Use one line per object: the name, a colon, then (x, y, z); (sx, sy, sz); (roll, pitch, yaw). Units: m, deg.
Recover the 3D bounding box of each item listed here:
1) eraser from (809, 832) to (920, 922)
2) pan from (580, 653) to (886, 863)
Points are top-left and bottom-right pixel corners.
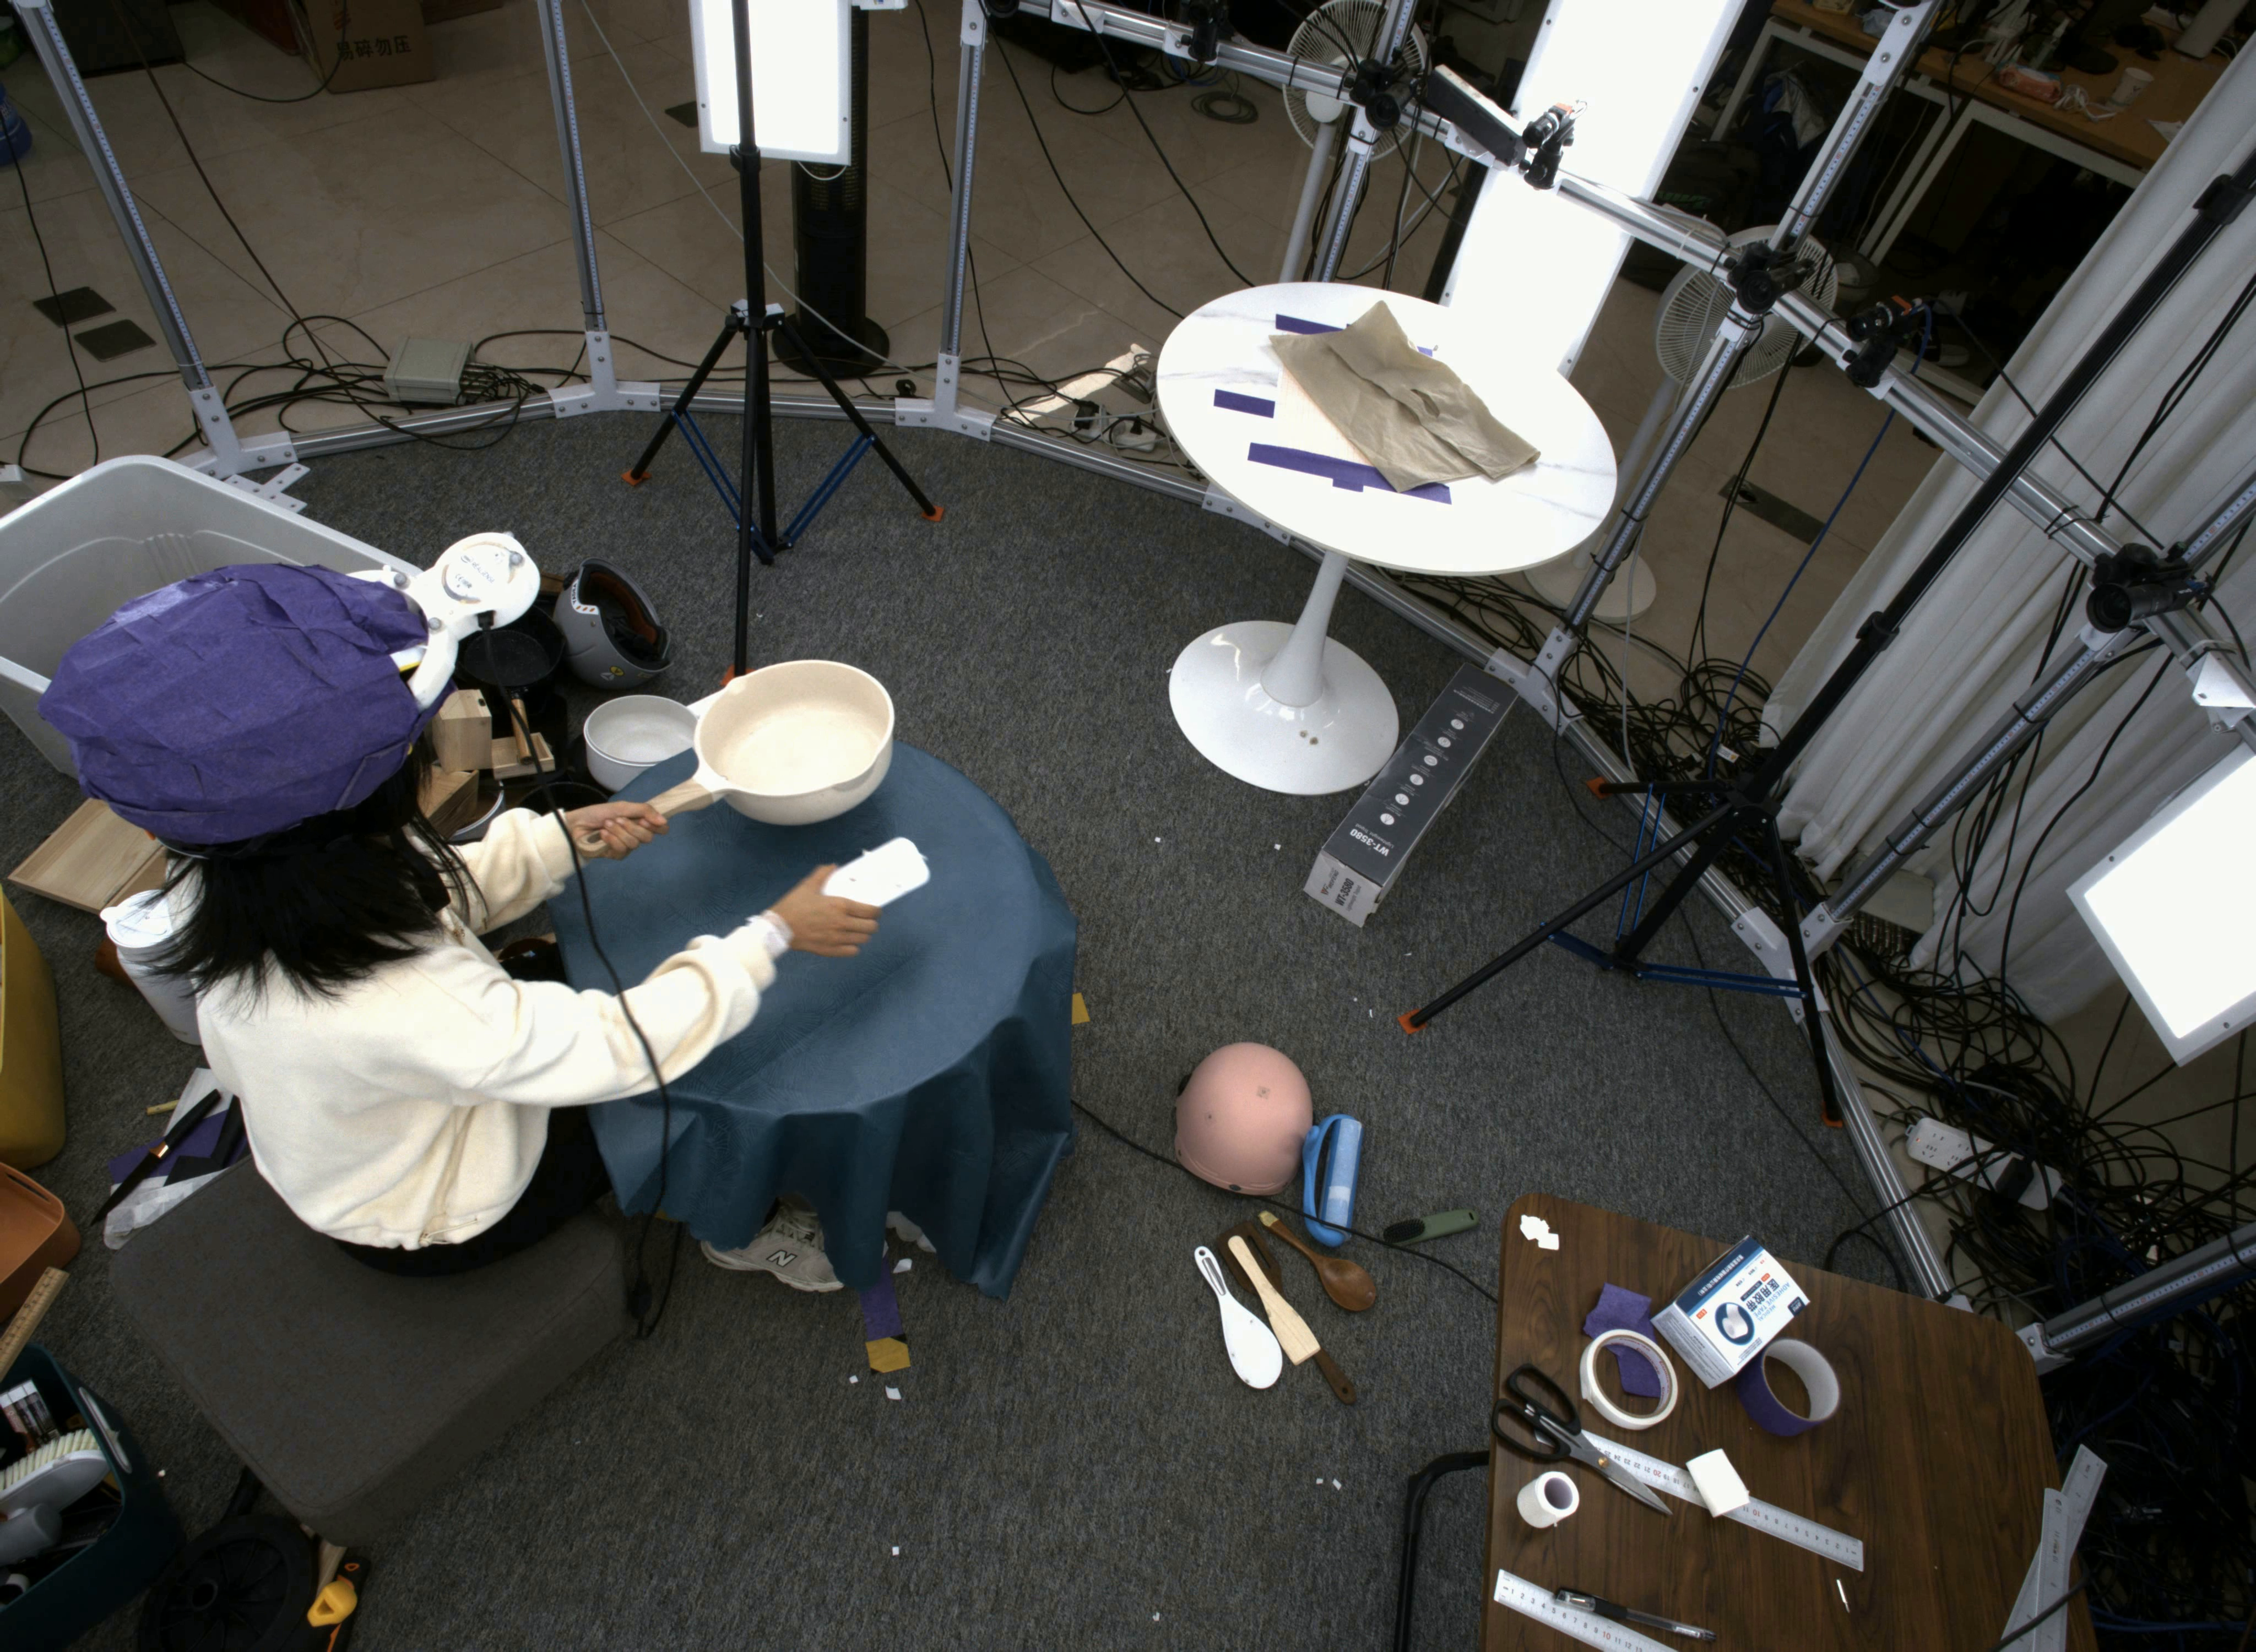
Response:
eraser: (-0.315, 0.059, 1.551); (0.131, 0.034, 0.064); (-31, 92, -25)
pan: (-0.489, -0.062, 1.601); (0.255, 0.105, 0.435); (33, 55, 24)
